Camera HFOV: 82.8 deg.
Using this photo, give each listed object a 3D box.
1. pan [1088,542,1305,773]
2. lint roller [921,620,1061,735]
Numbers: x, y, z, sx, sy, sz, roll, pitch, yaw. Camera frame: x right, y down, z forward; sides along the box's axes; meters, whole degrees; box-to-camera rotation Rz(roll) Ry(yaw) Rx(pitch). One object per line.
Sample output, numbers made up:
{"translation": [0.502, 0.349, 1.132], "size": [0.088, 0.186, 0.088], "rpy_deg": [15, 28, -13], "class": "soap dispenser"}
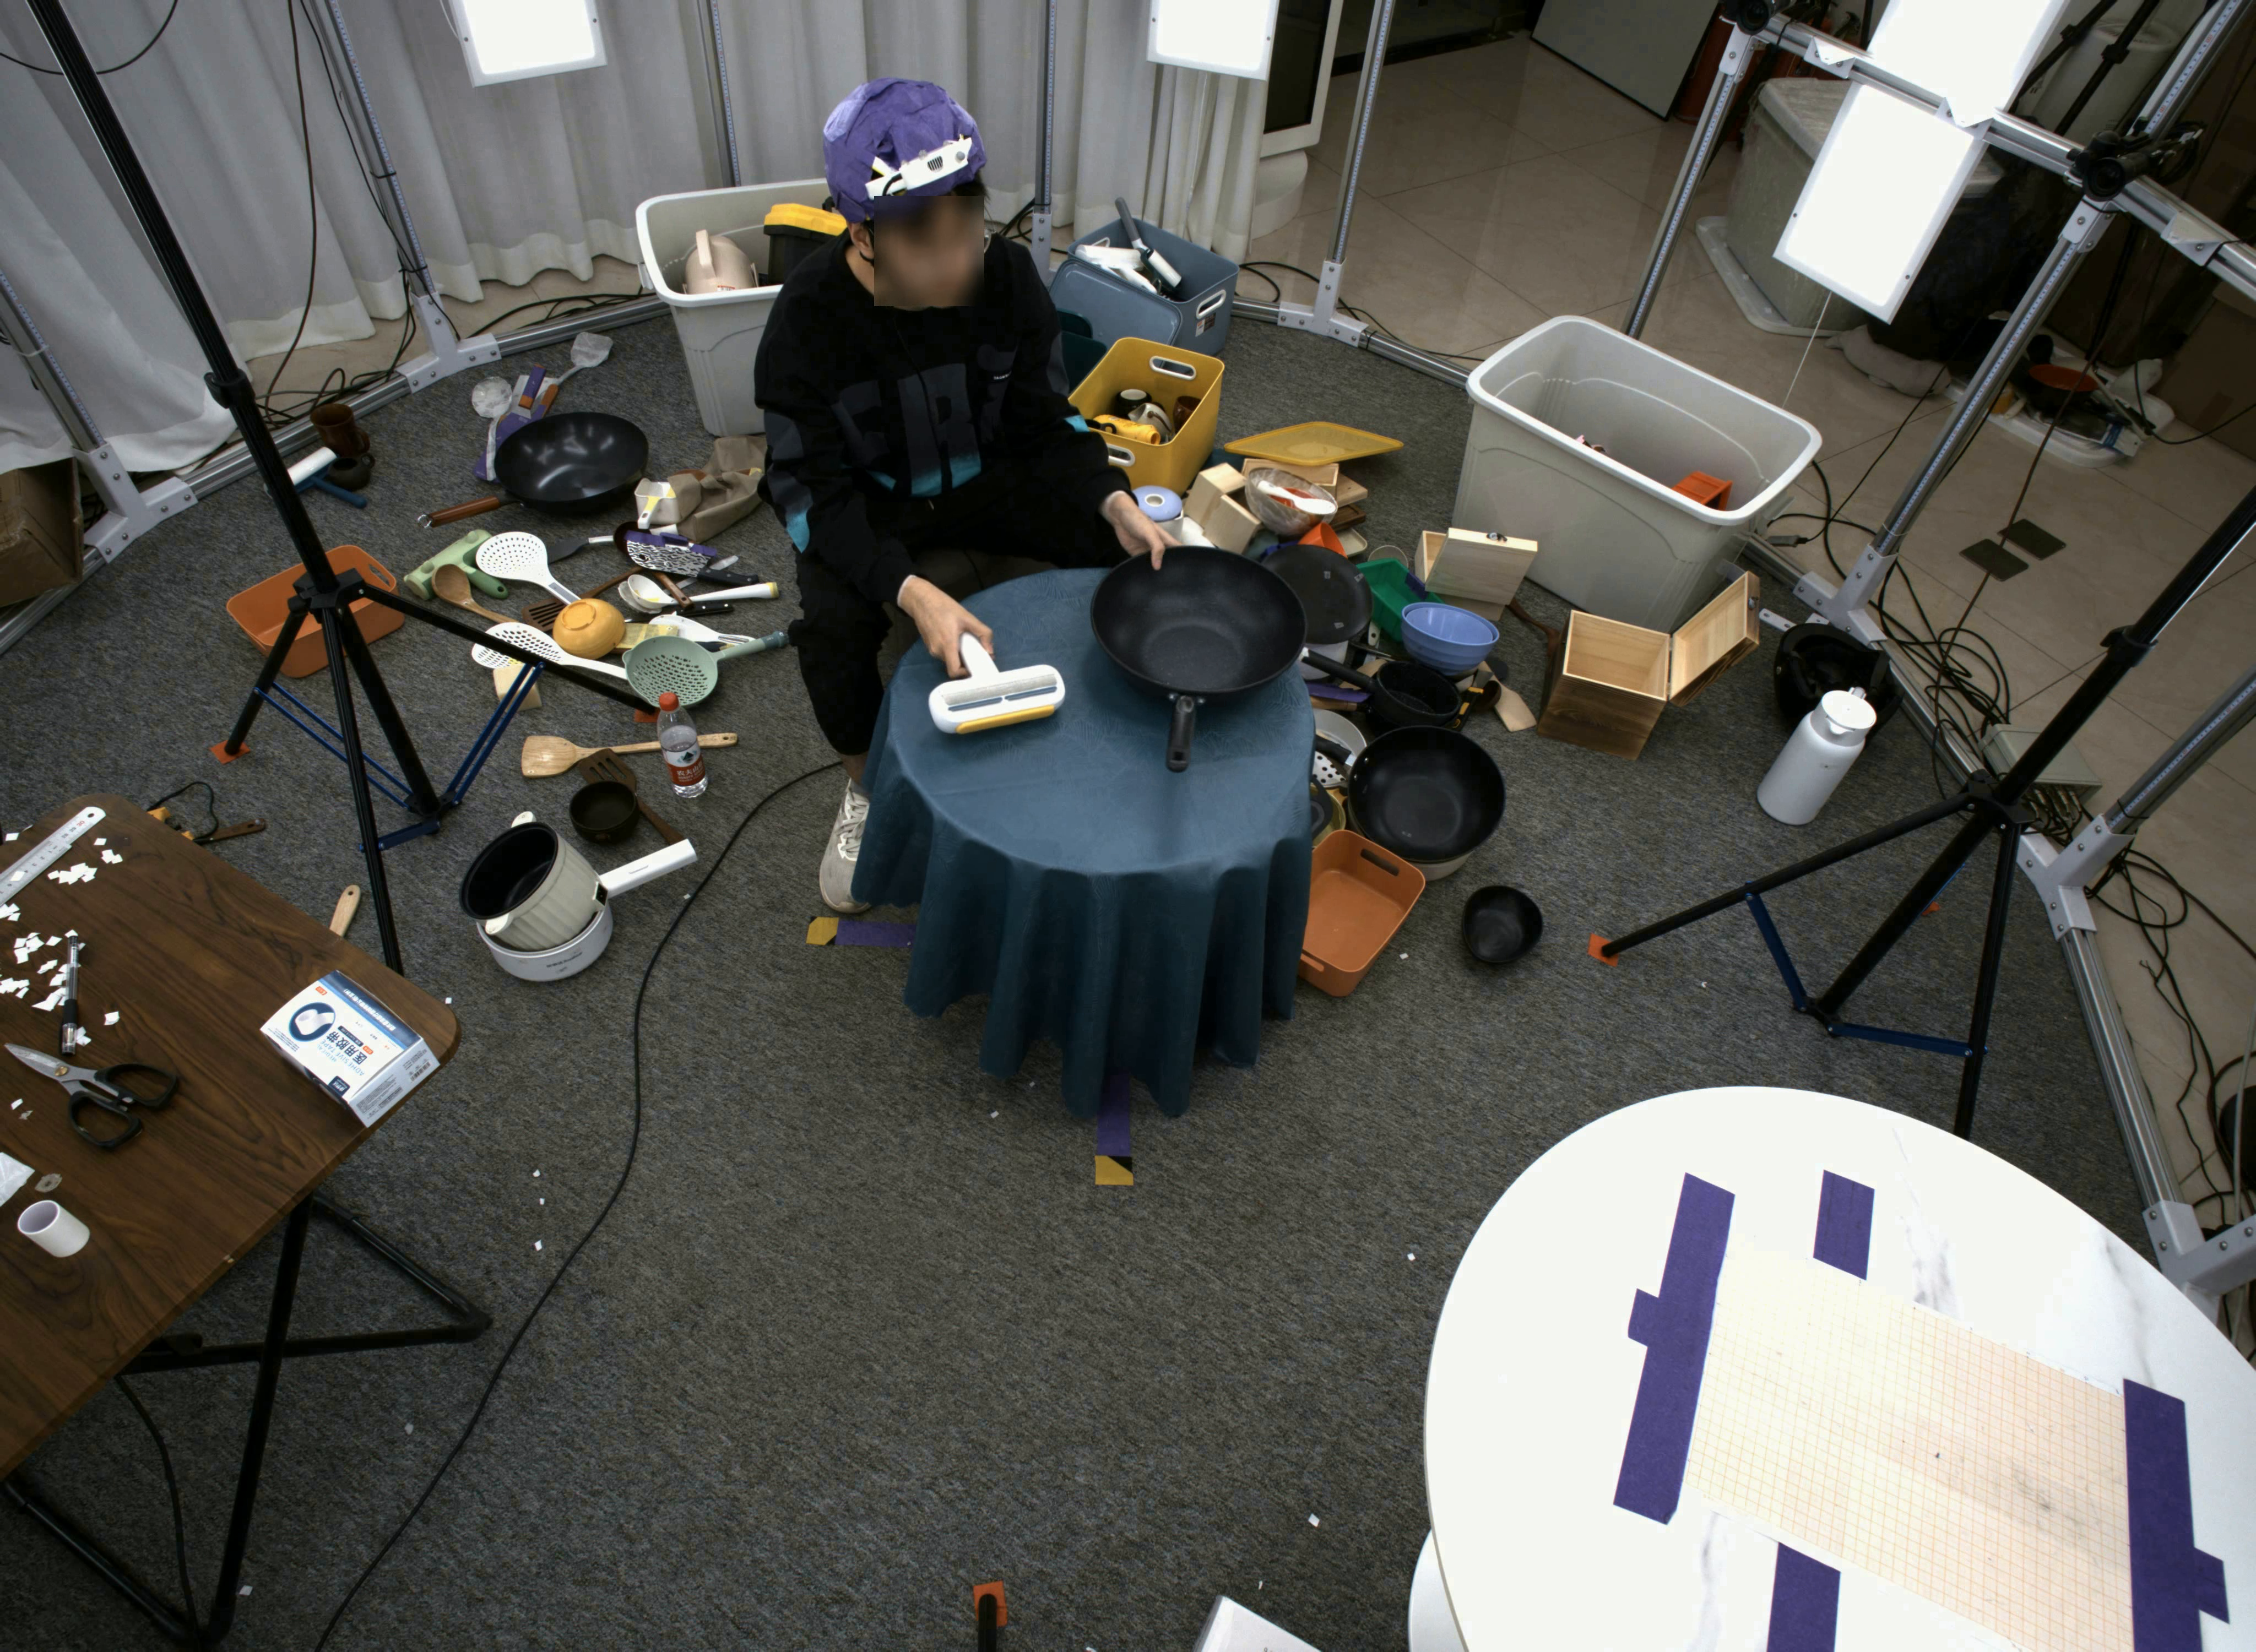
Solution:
{"translation": [0.088, -0.222, 1.797], "size": [0.310, 0.109, 0.488], "rpy_deg": [6, 49, 3], "class": "pan"}
{"translation": [-0.206, -0.218, 1.784], "size": [0.193, 0.073, 0.196], "rpy_deg": [-12, 64, -19], "class": "lint roller"}
